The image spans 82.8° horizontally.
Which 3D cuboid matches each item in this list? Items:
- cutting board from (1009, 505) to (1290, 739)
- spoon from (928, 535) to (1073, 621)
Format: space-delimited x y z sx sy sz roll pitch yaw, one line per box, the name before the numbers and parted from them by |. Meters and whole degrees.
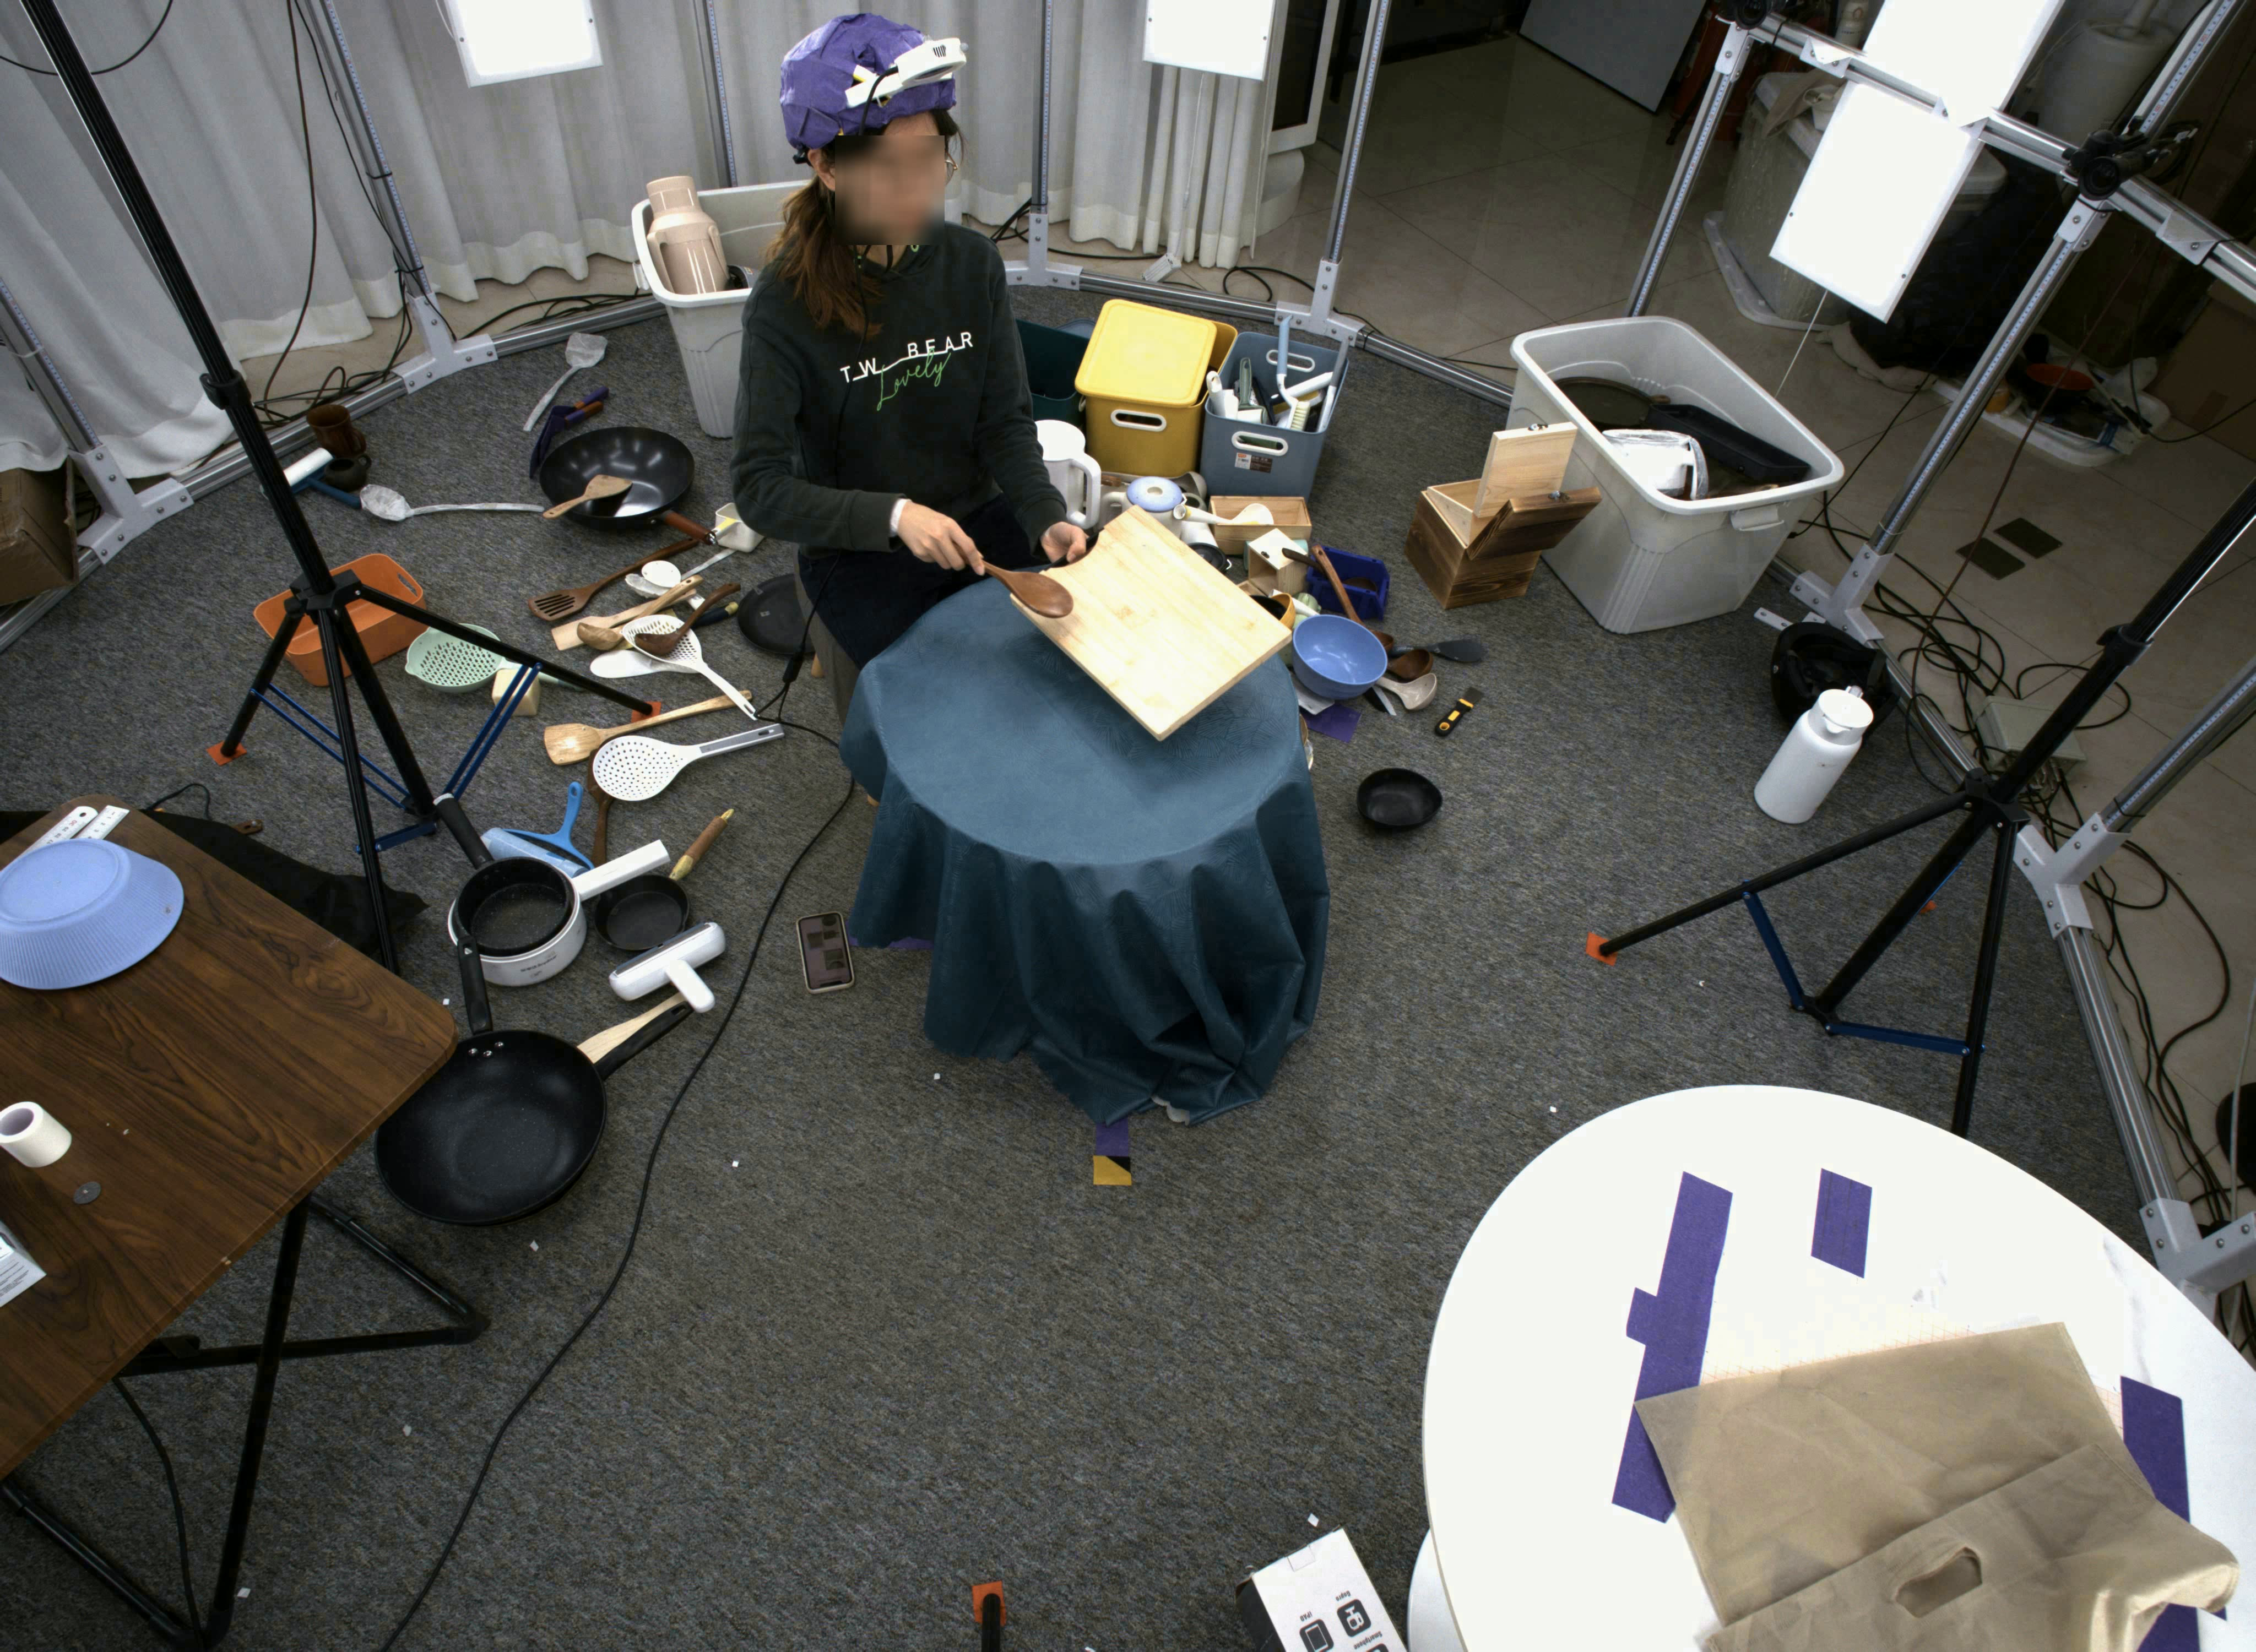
cutting board | 0.025 -0.297 1.826 0.252 0.023 0.355 -38 60 -14
spoon | -0.175 -0.343 1.774 0.215 0.017 0.077 27 48 -9
